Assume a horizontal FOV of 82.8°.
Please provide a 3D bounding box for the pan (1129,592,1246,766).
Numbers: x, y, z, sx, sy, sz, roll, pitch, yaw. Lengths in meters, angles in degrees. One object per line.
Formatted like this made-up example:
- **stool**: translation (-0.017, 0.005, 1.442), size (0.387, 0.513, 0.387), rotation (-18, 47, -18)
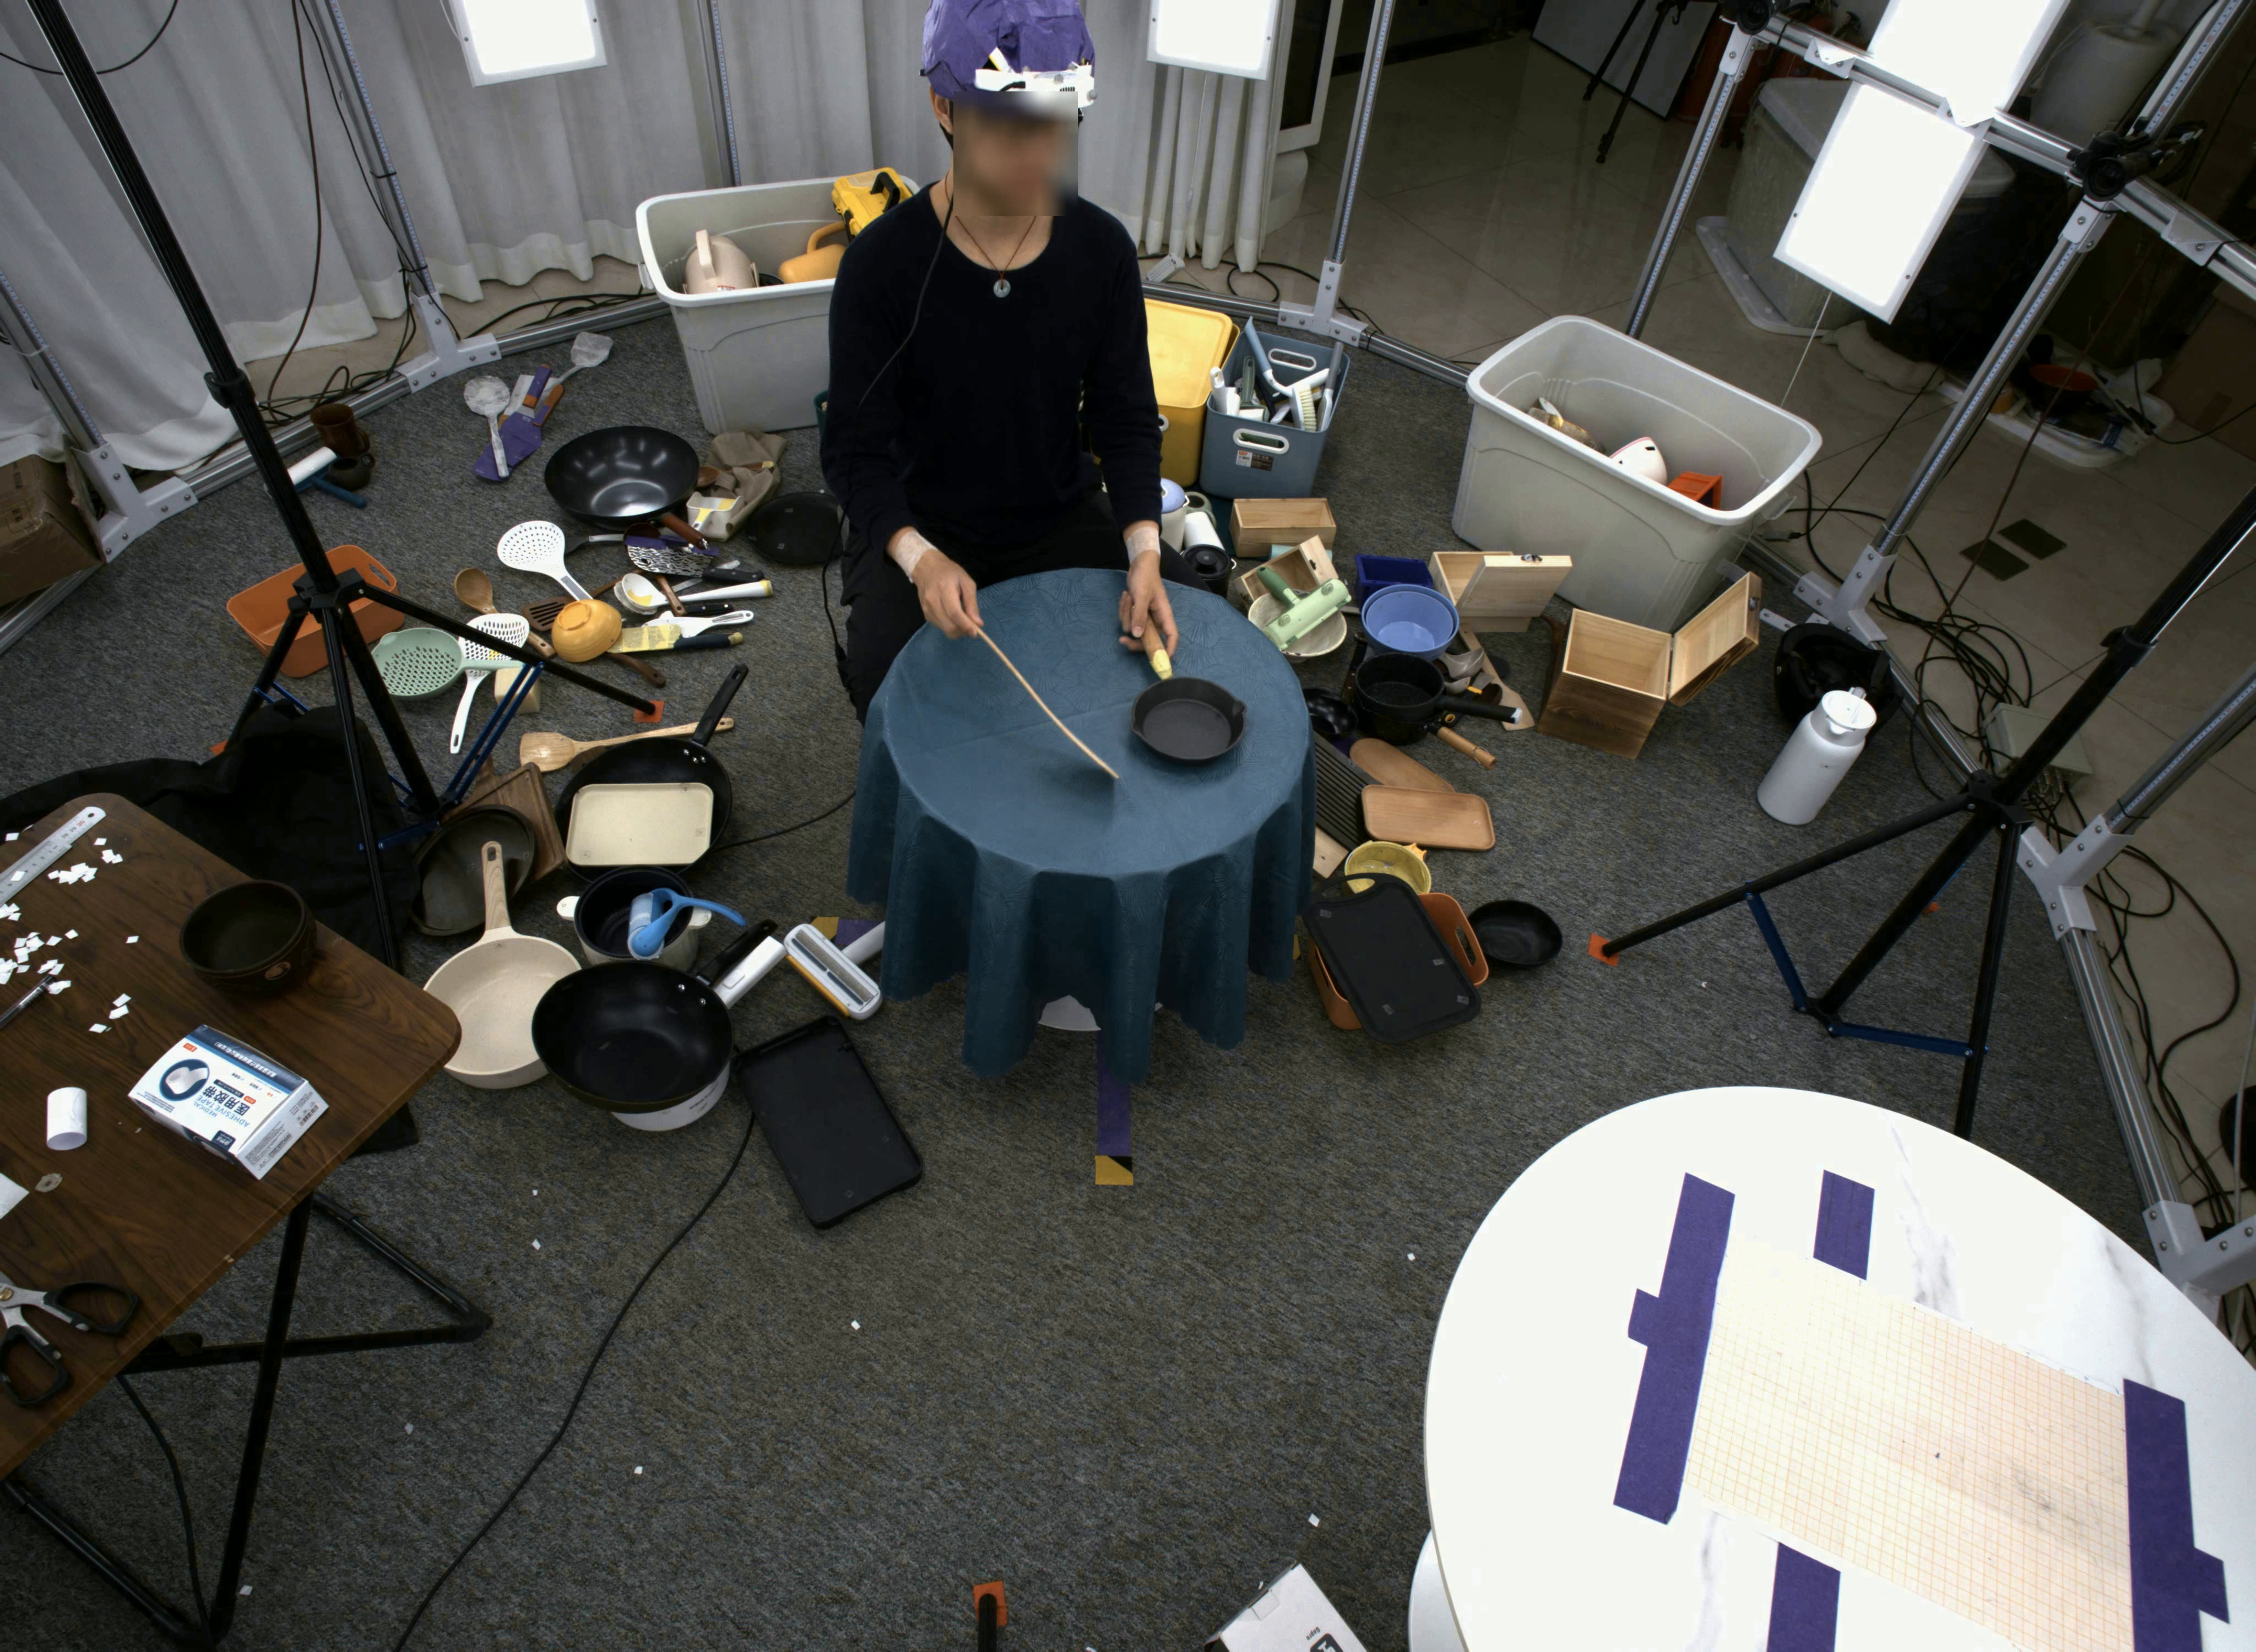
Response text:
- **pan**: translation (0.059, -0.210, 1.822), size (0.169, 0.048, 0.332), rotation (-11, 52, -13)

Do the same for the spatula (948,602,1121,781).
- **spatula**: translation (-0.124, -0.176, 1.697), size (0.016, 0.080, 0.328), rotation (-42, 87, 1)
